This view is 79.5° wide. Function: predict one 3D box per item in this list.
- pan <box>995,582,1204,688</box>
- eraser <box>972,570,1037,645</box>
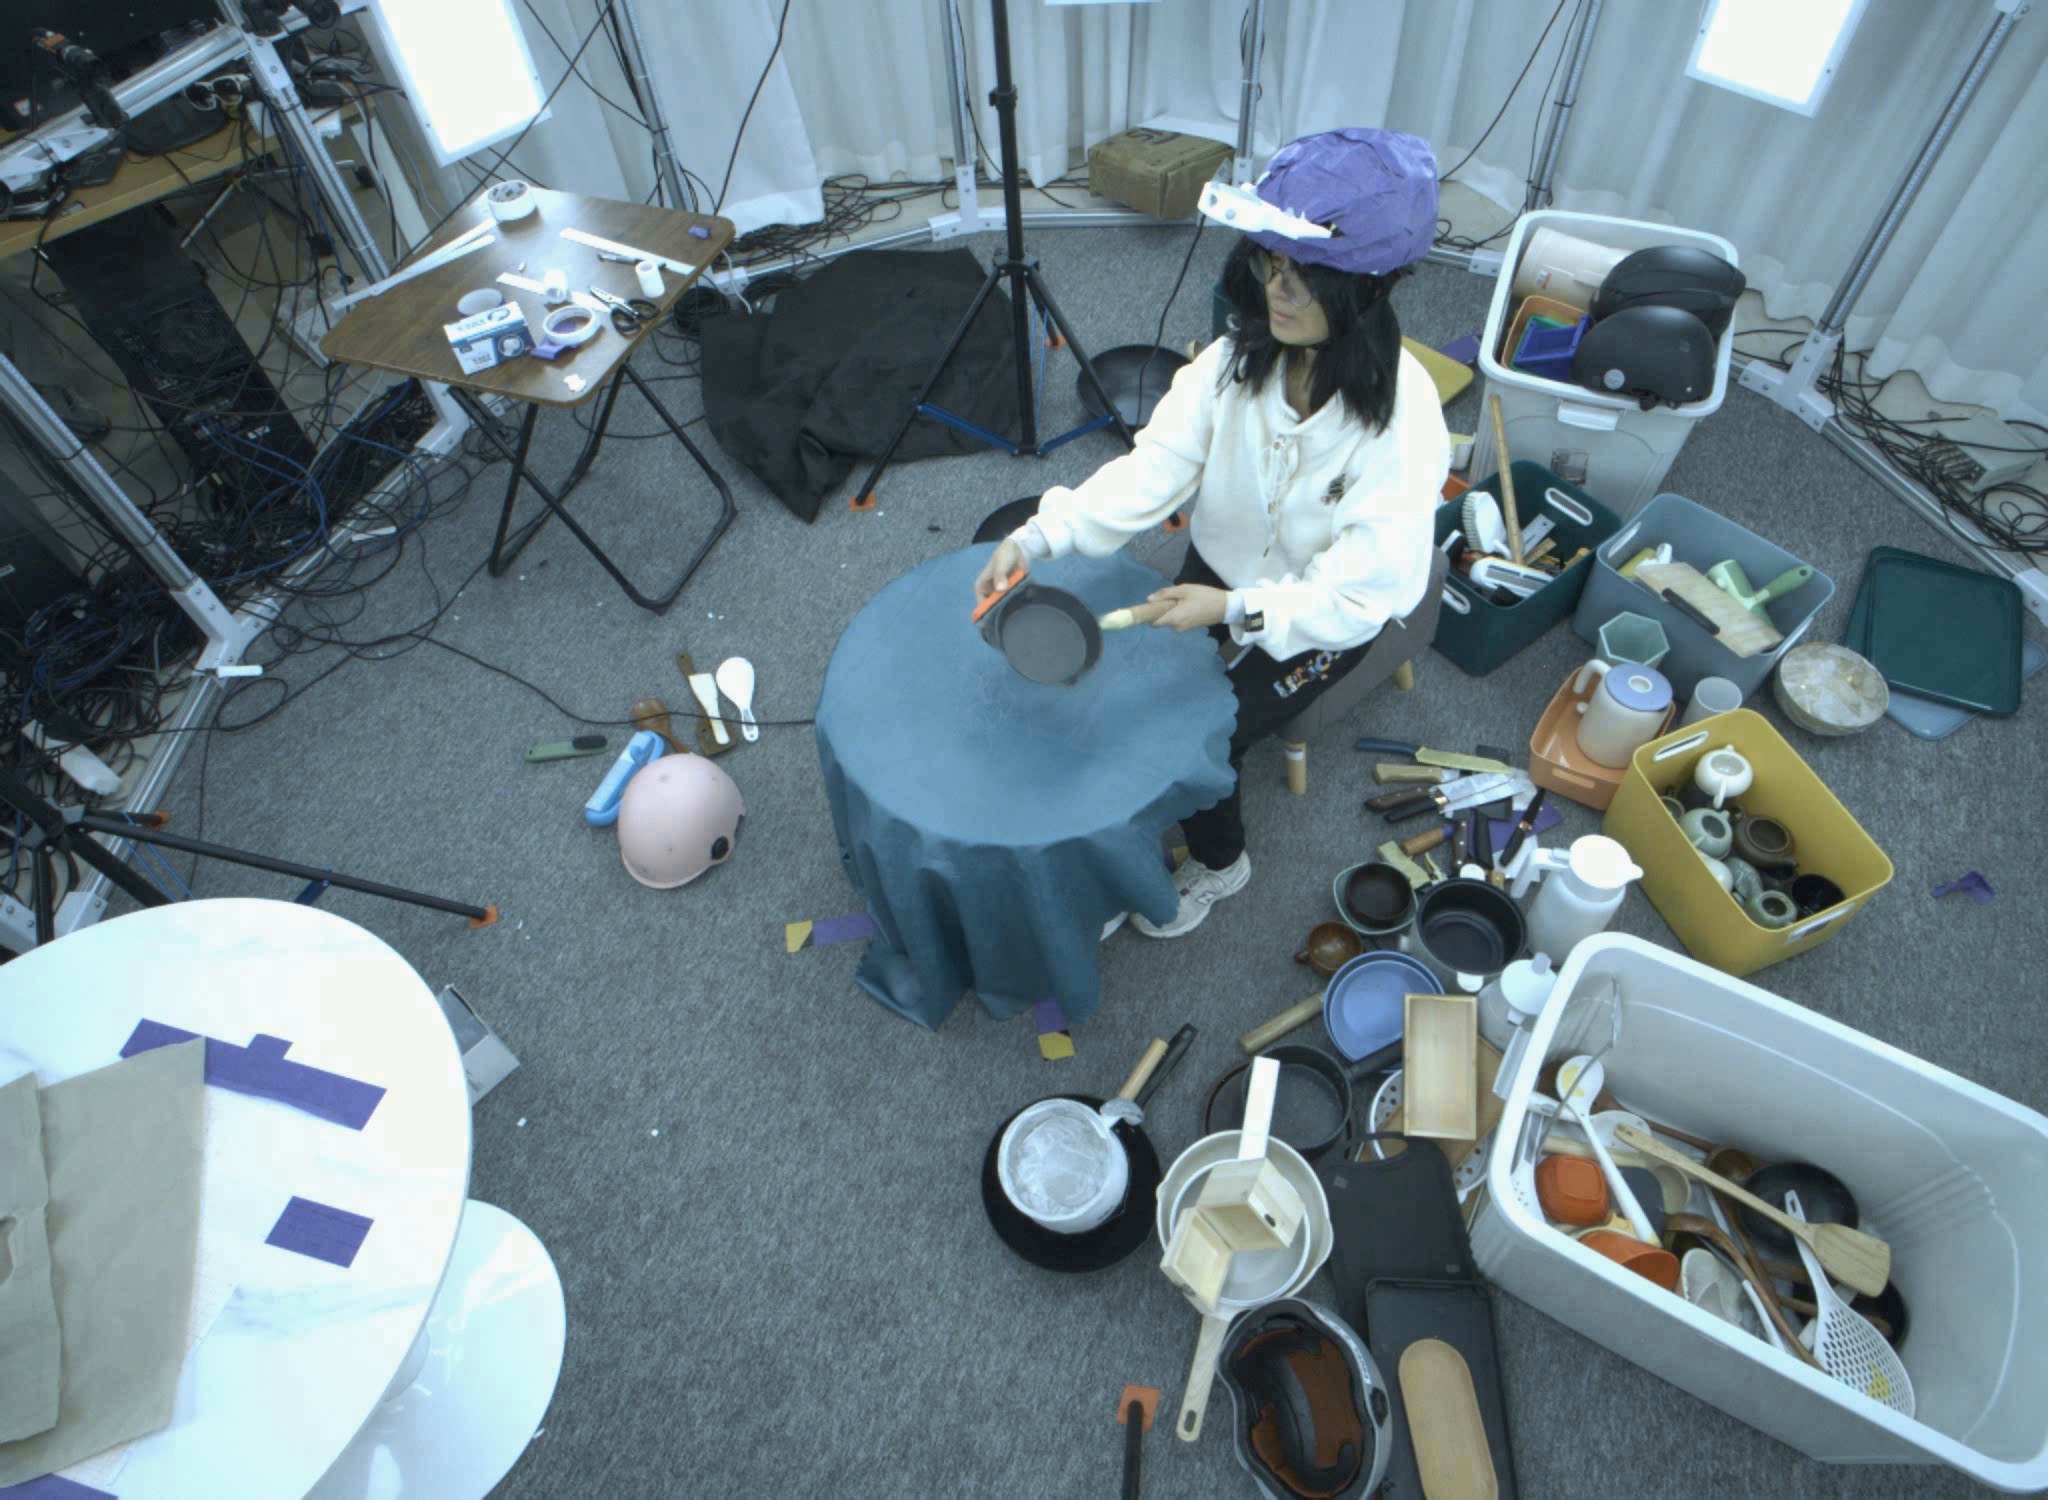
[{"bbox_3d":[0.111,-0.178,1.750,0.328,0.049,0.167,-14,74,-22],"label":"pan"},{"bbox_3d":[-0.025,-0.203,1.740,0.022,0.060,0.108,31,65,32],"label":"eraser"}]
